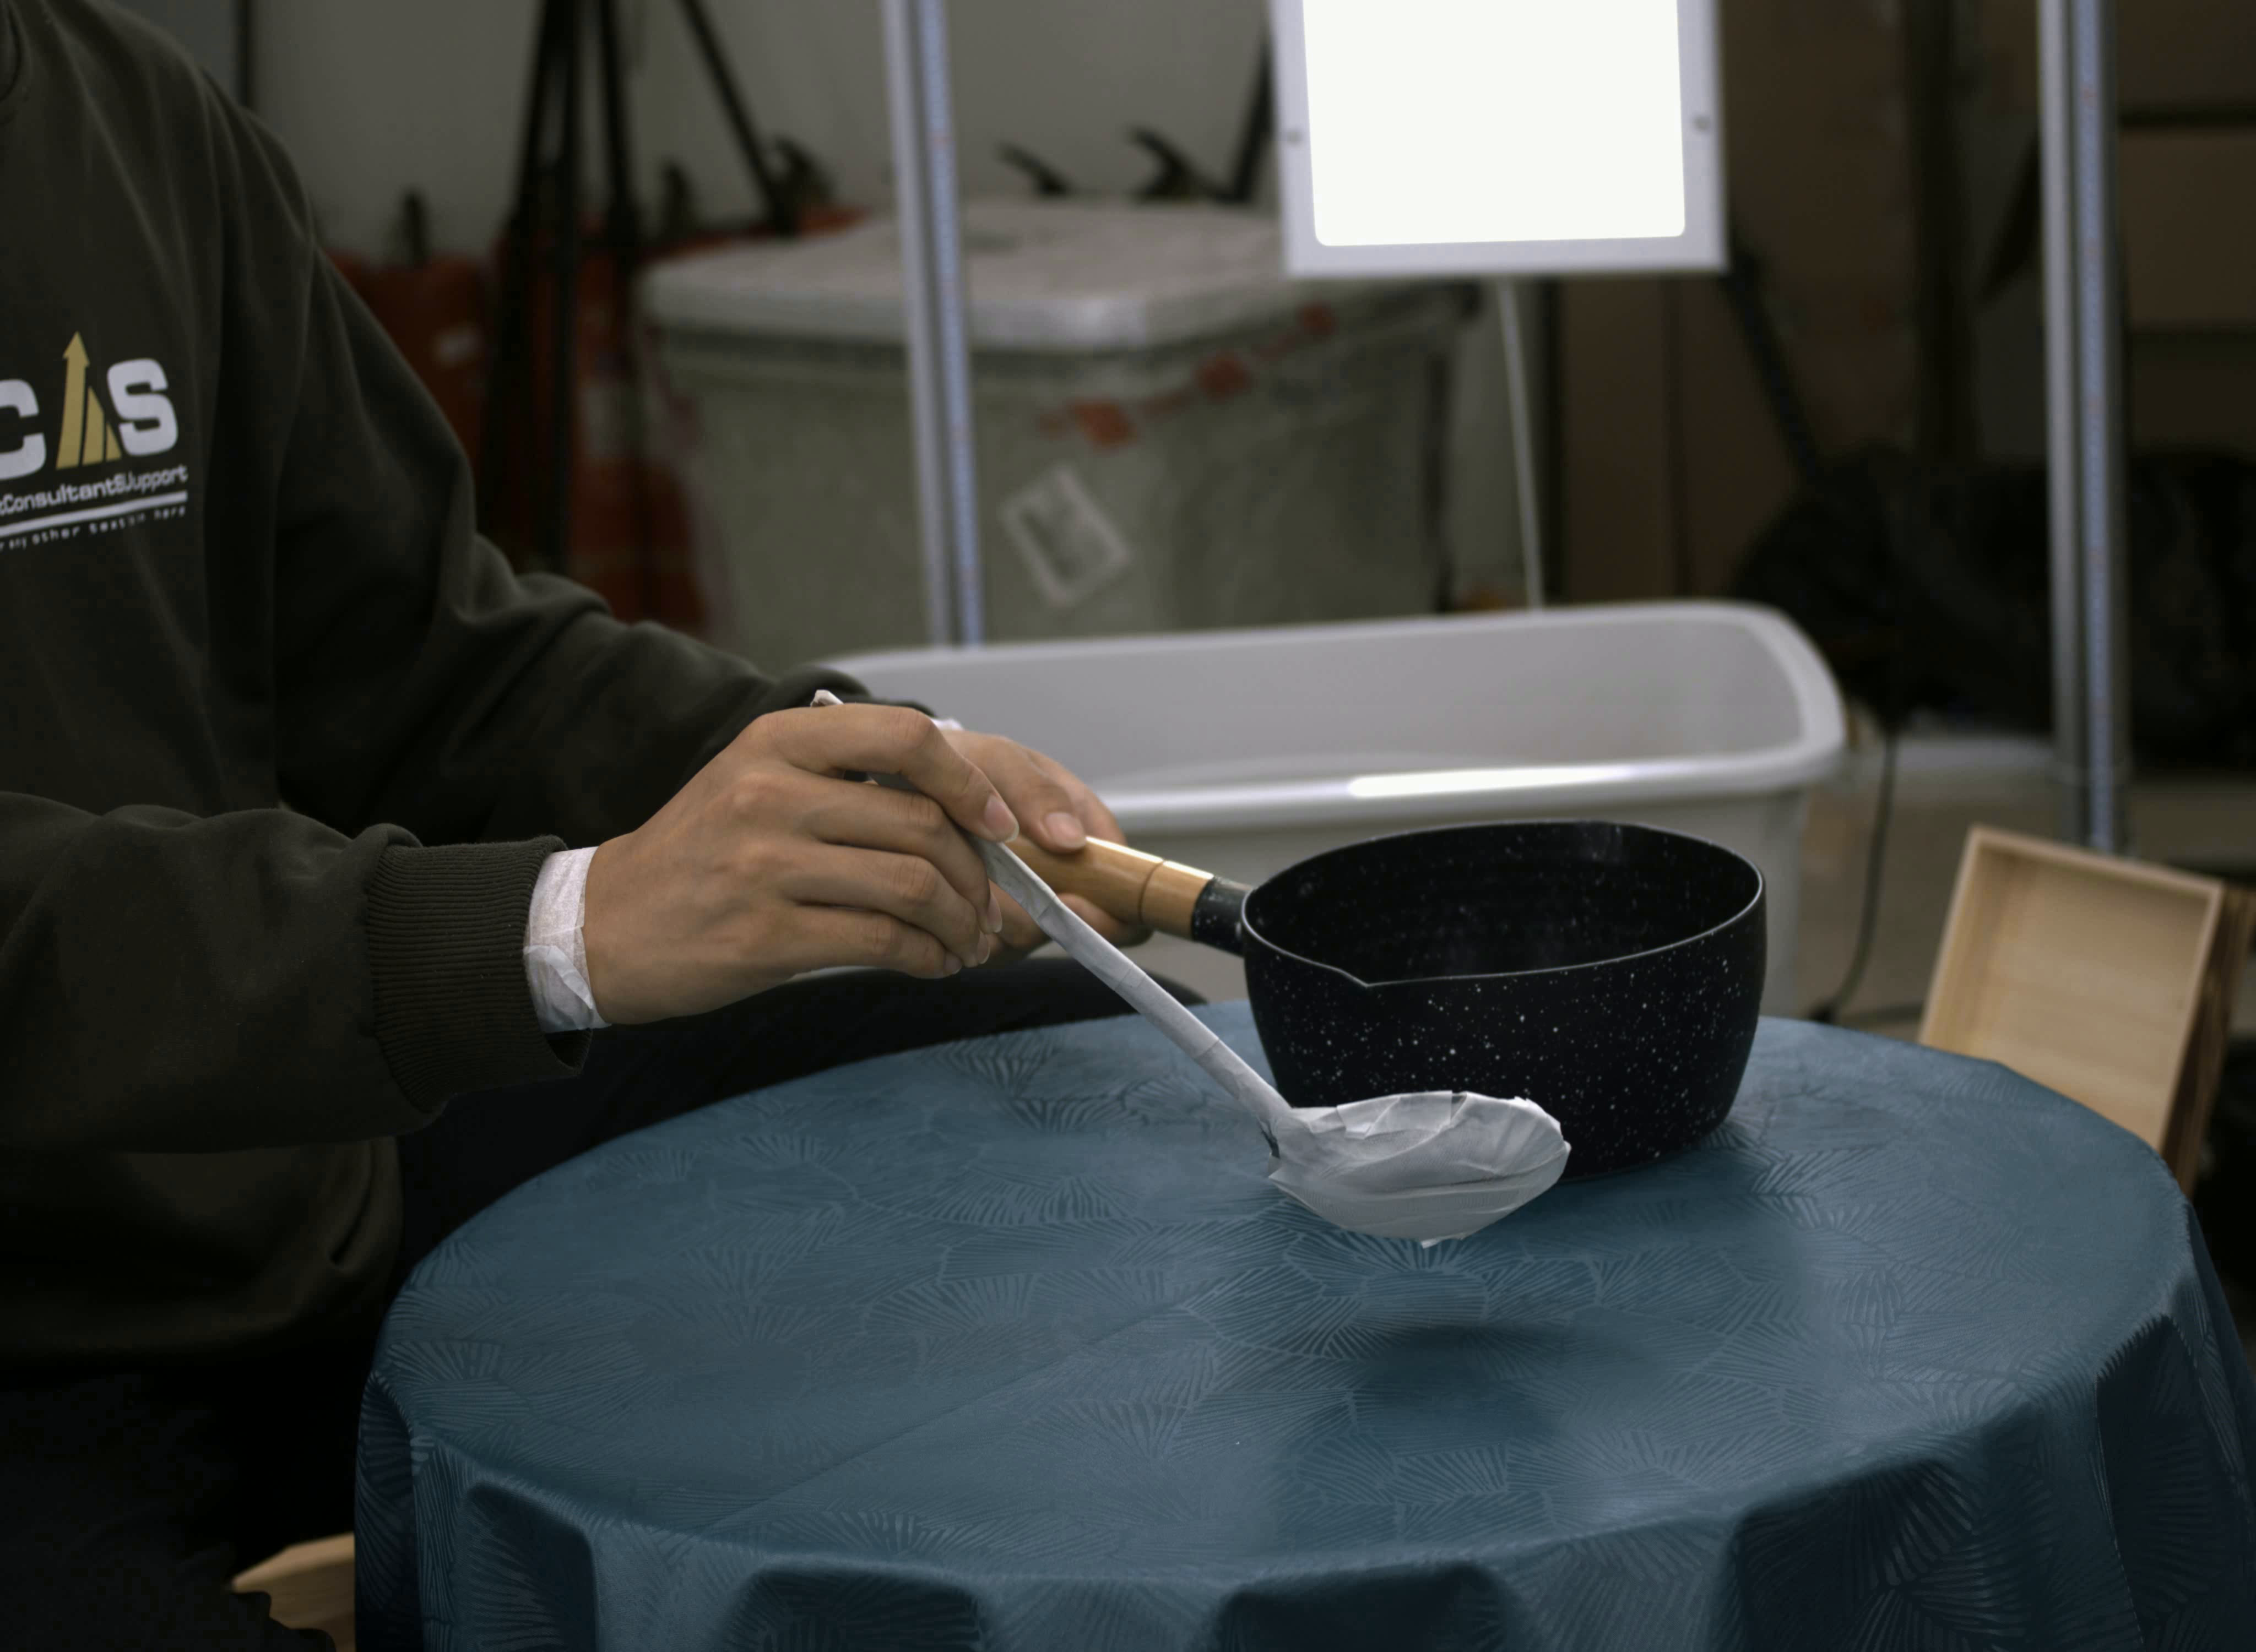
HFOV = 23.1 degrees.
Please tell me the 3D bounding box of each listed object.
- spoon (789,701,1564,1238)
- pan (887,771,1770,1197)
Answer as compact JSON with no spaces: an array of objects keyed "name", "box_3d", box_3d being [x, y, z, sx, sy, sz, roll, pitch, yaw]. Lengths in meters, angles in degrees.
[{"name":"spoon","box_3d":[0.012,0.040,1.702,0.058,0.277,0.102,-52,3,-41]},{"name":"pan","box_3d":[0.064,0.047,1.962,0.349,0.108,0.203,5,20,29]}]
